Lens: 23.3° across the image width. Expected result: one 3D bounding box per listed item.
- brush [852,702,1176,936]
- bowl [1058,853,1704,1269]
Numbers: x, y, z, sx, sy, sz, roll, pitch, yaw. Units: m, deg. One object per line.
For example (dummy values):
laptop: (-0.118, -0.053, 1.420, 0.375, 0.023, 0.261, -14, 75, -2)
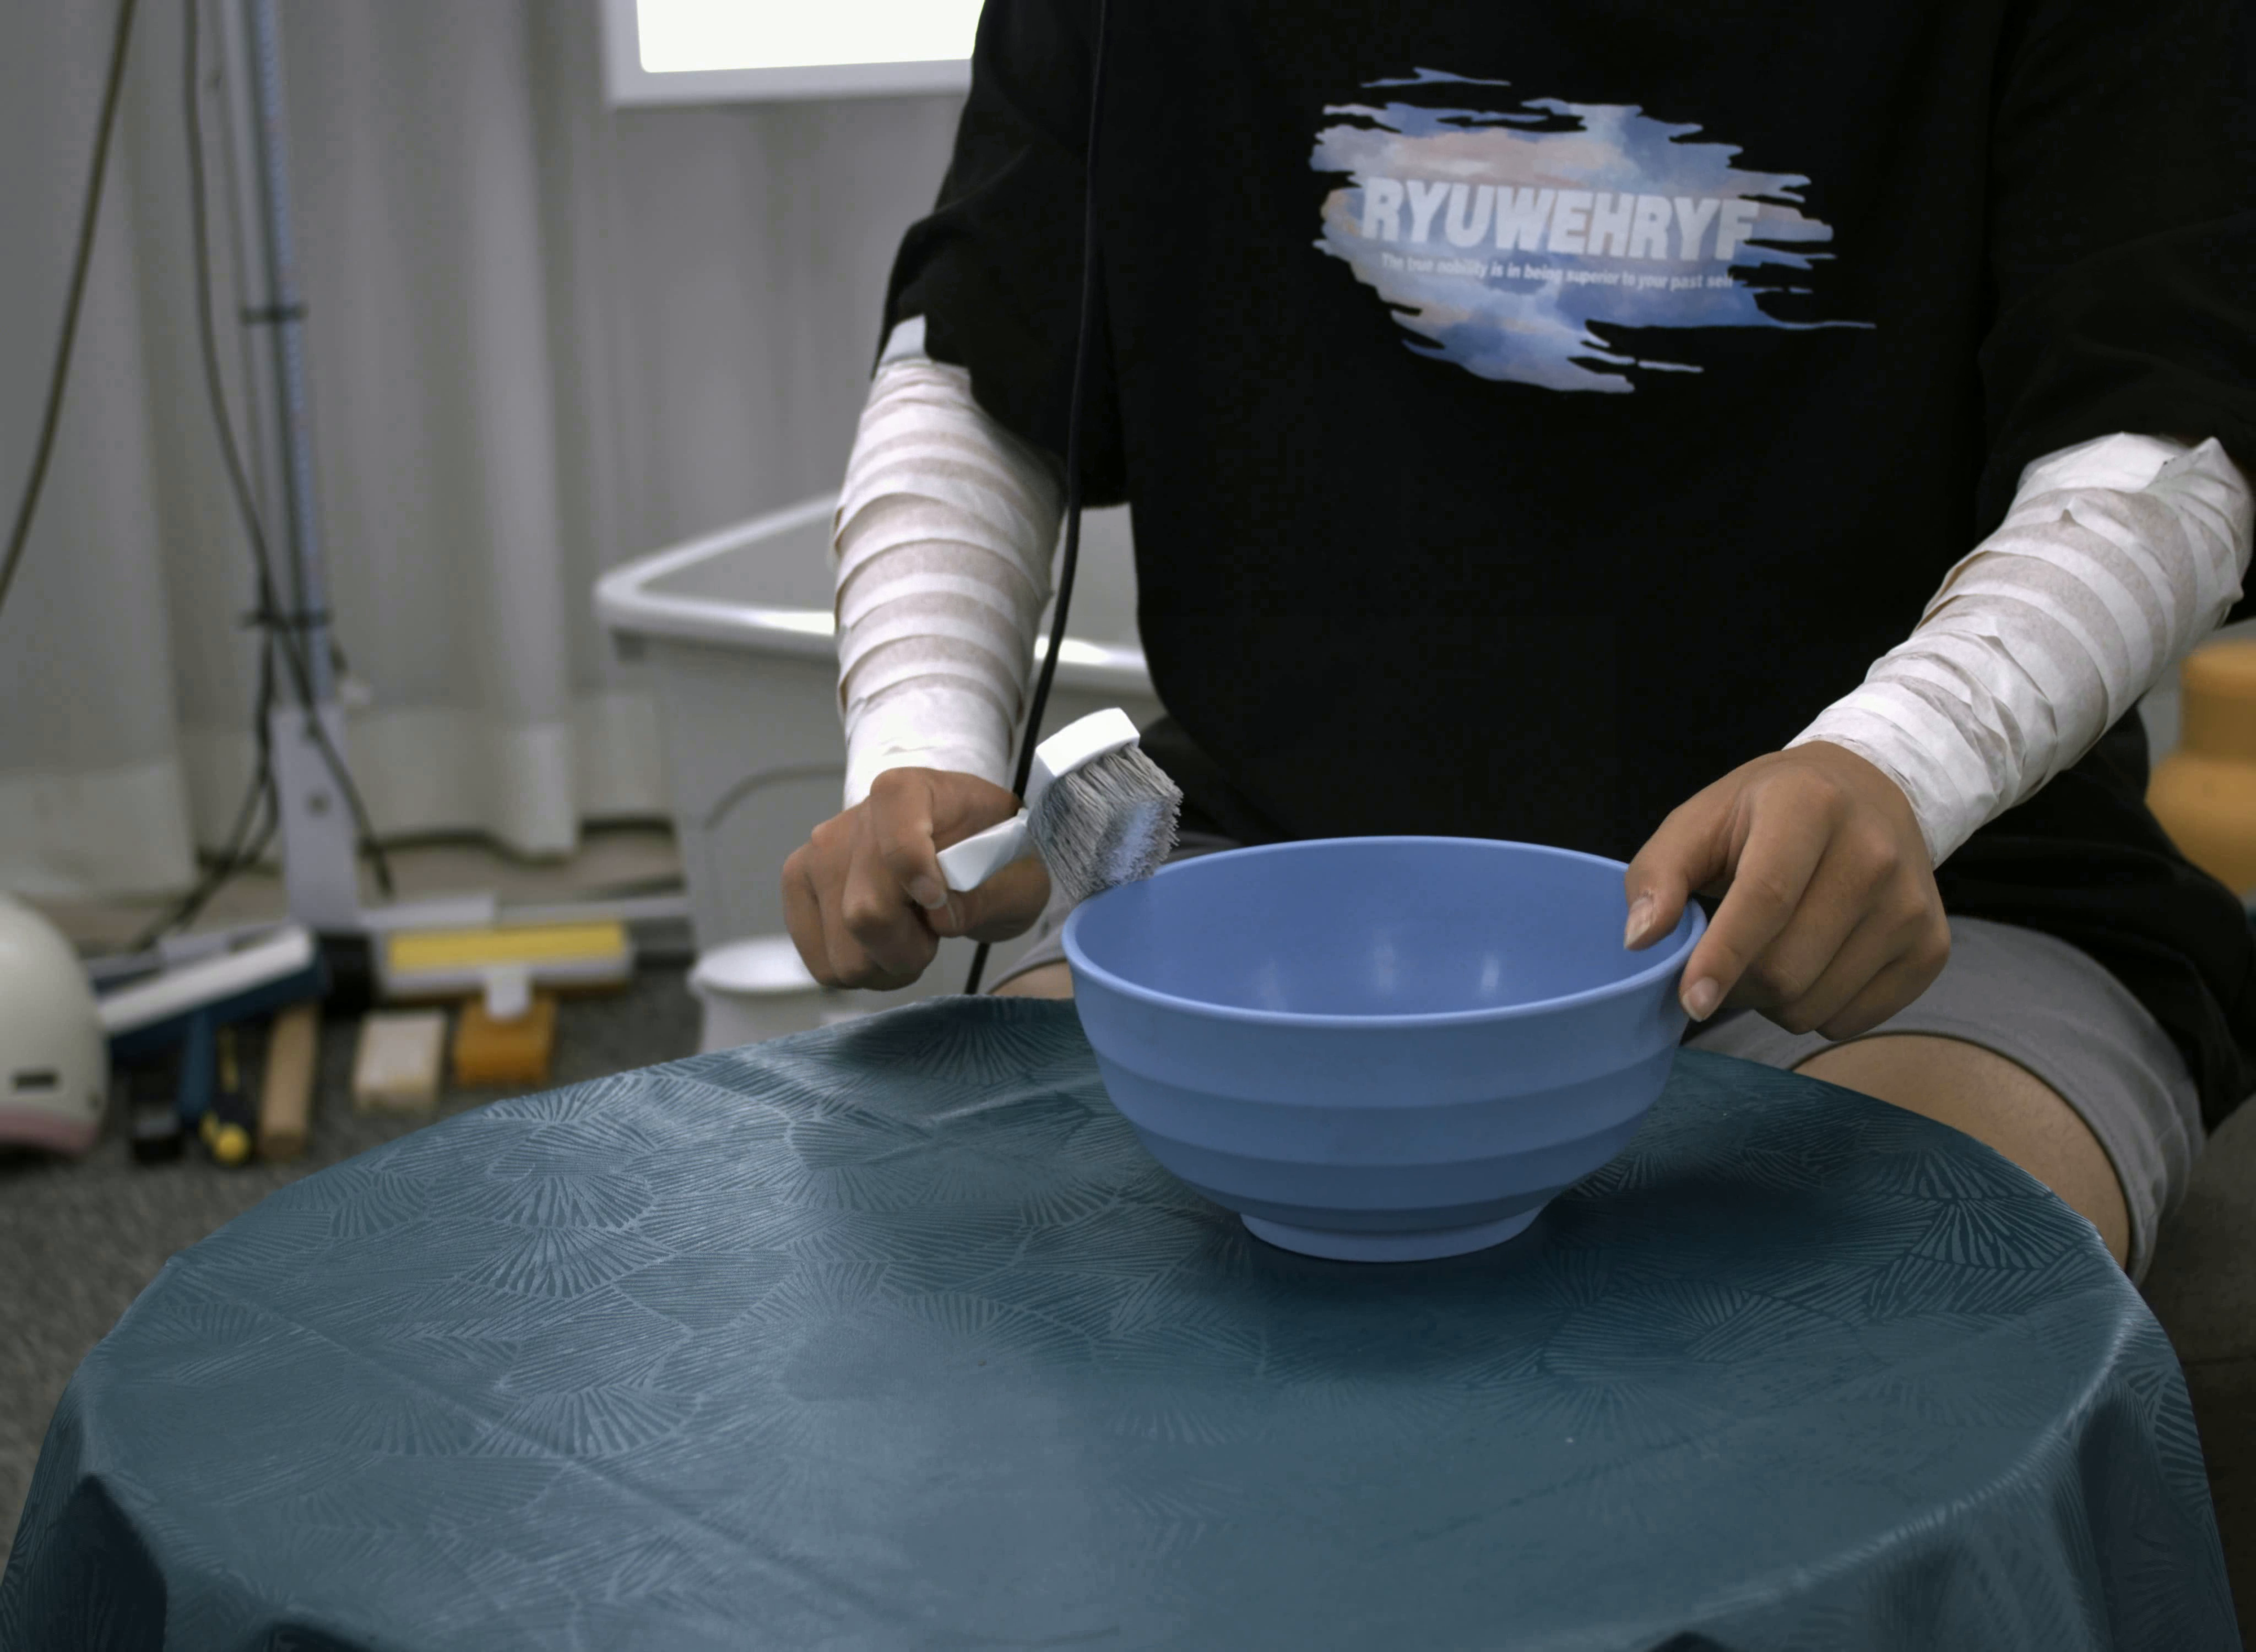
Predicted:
brush: (-0.038, 0.017, 1.771, 0.034, 0.050, 0.242, -26, -6, -24)
bowl: (0.078, 0.076, 1.666, 0.196, 0.095, 0.197, -3, 13, 0)
